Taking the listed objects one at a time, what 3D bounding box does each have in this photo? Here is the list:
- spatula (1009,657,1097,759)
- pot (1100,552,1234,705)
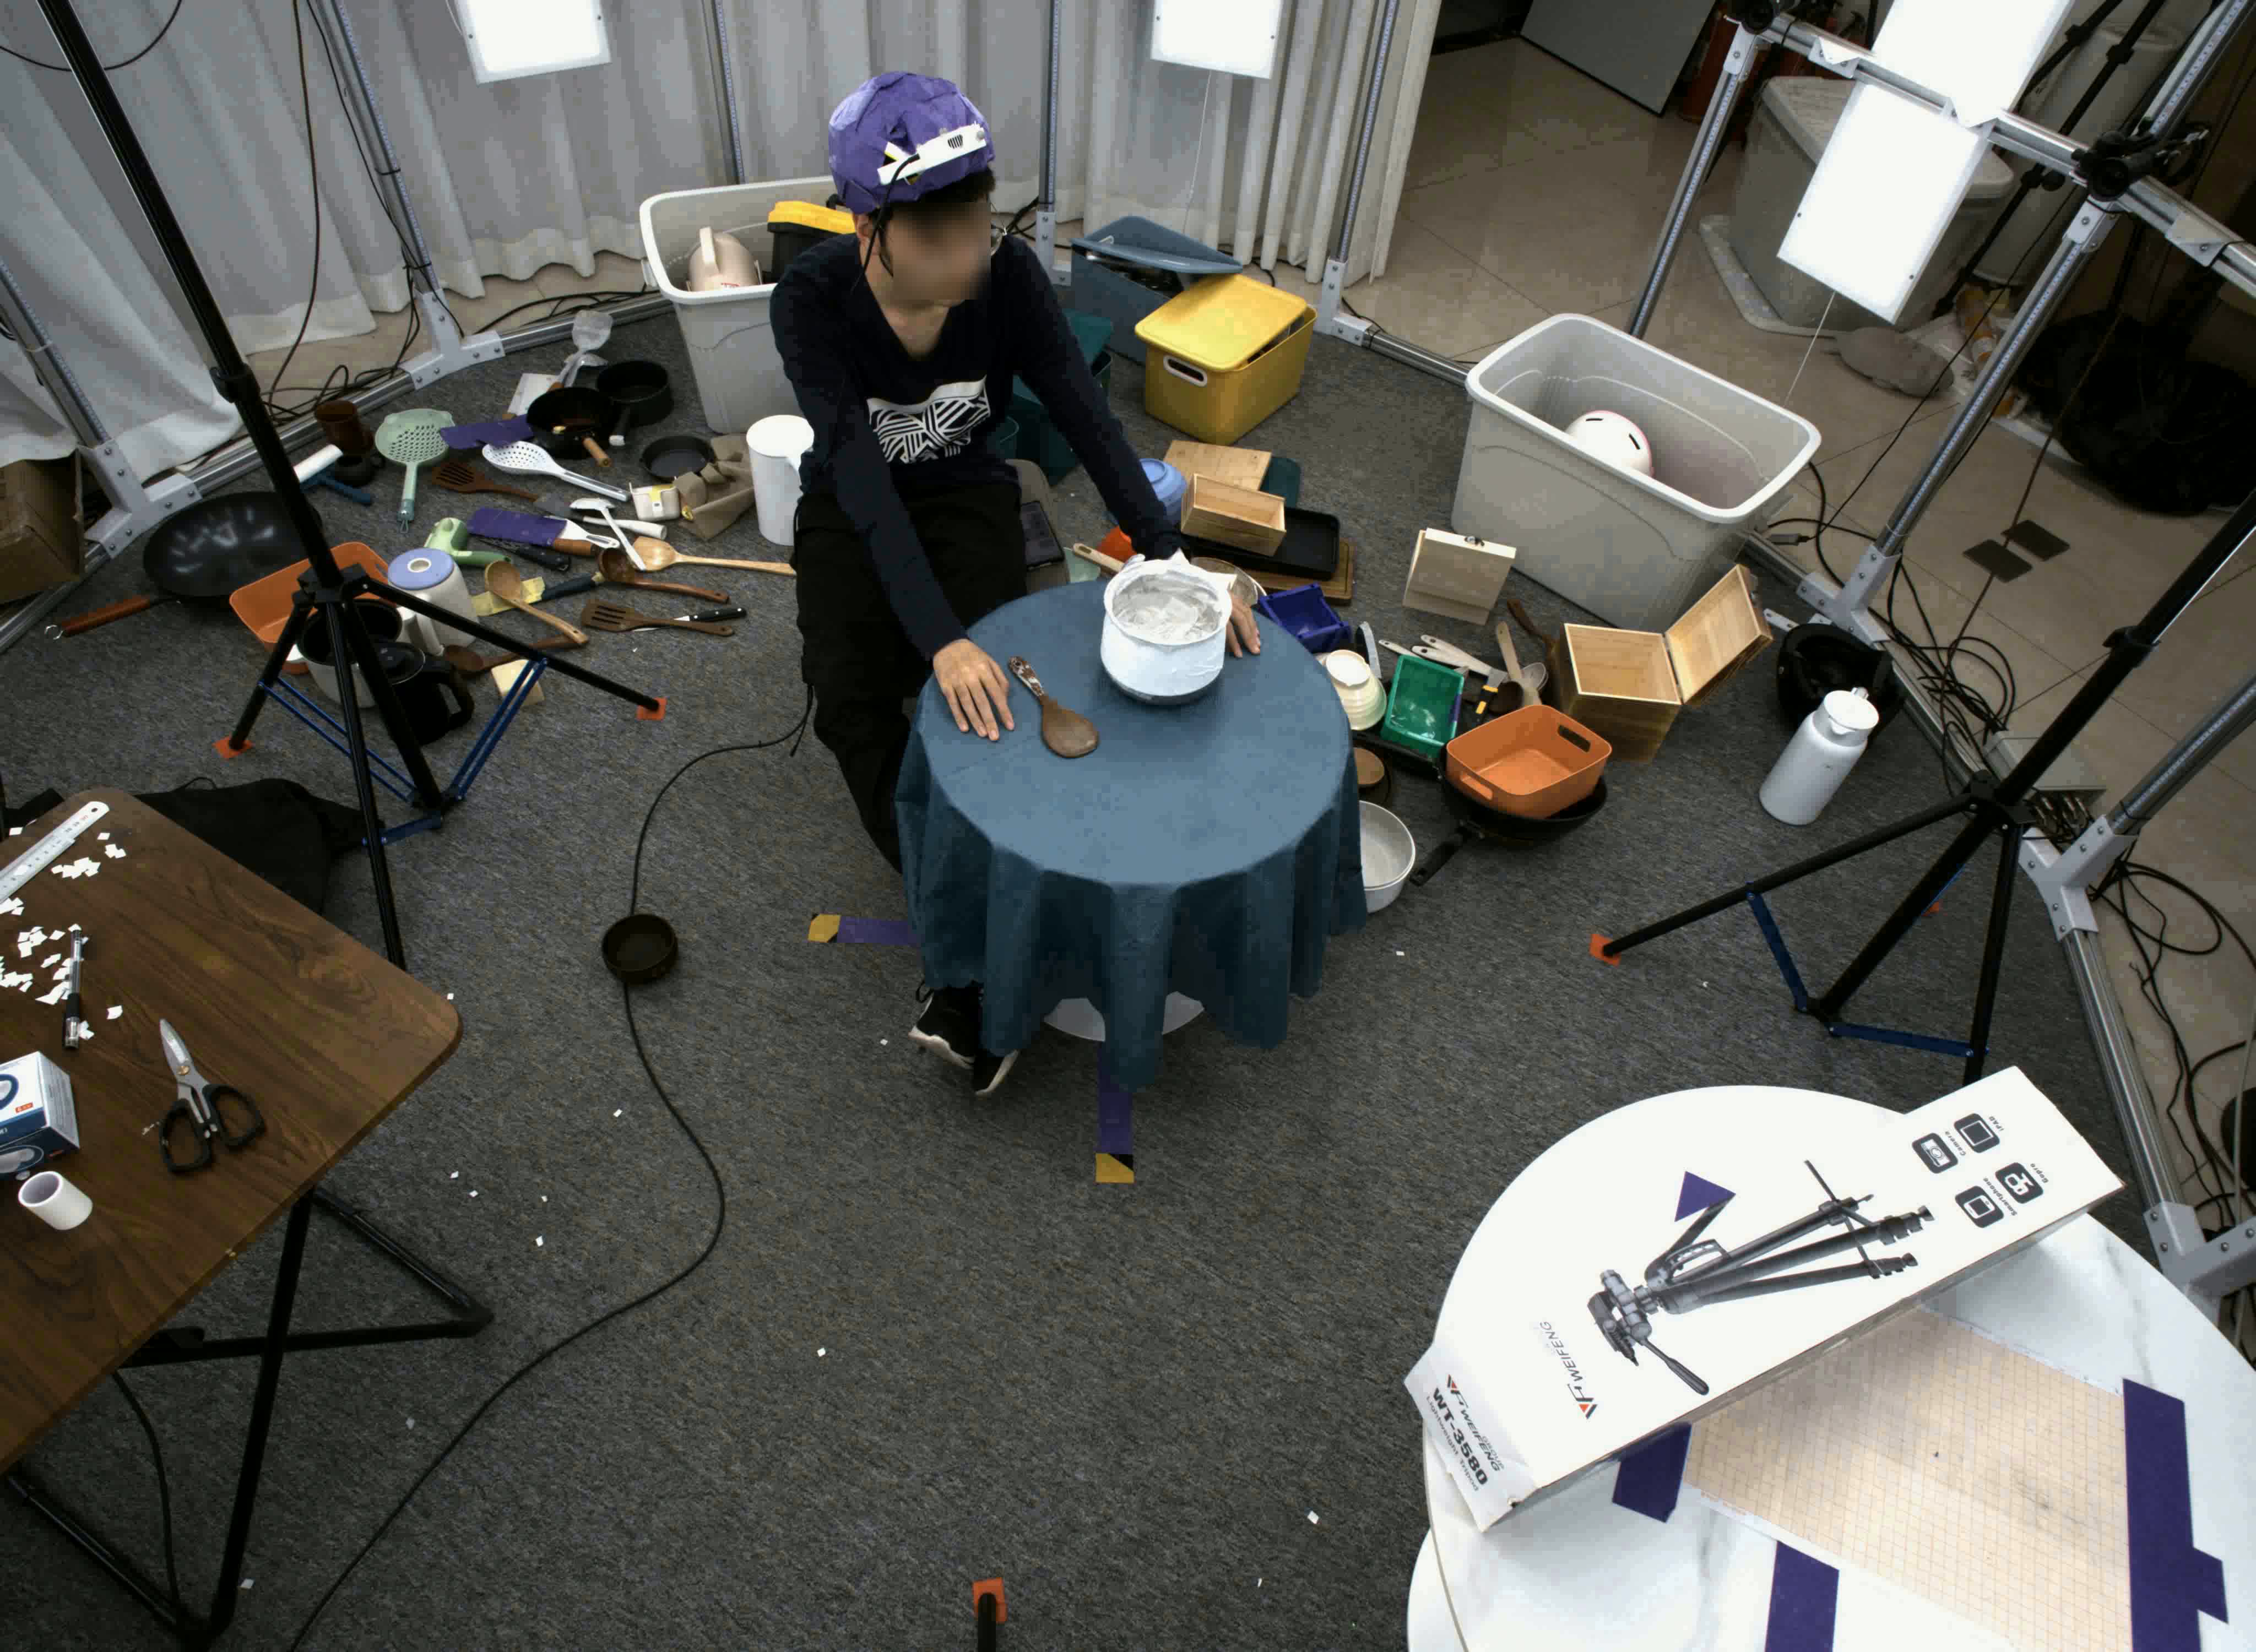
[{"bbox_3d":[-0.112,-0.171,1.805,0.072,0.009,0.220,-20,52,-21],"label":"spatula"},{"bbox_3d":[0.040,-0.291,1.832,0.179,0.133,0.239,-15,53,-20],"label":"pot"}]
